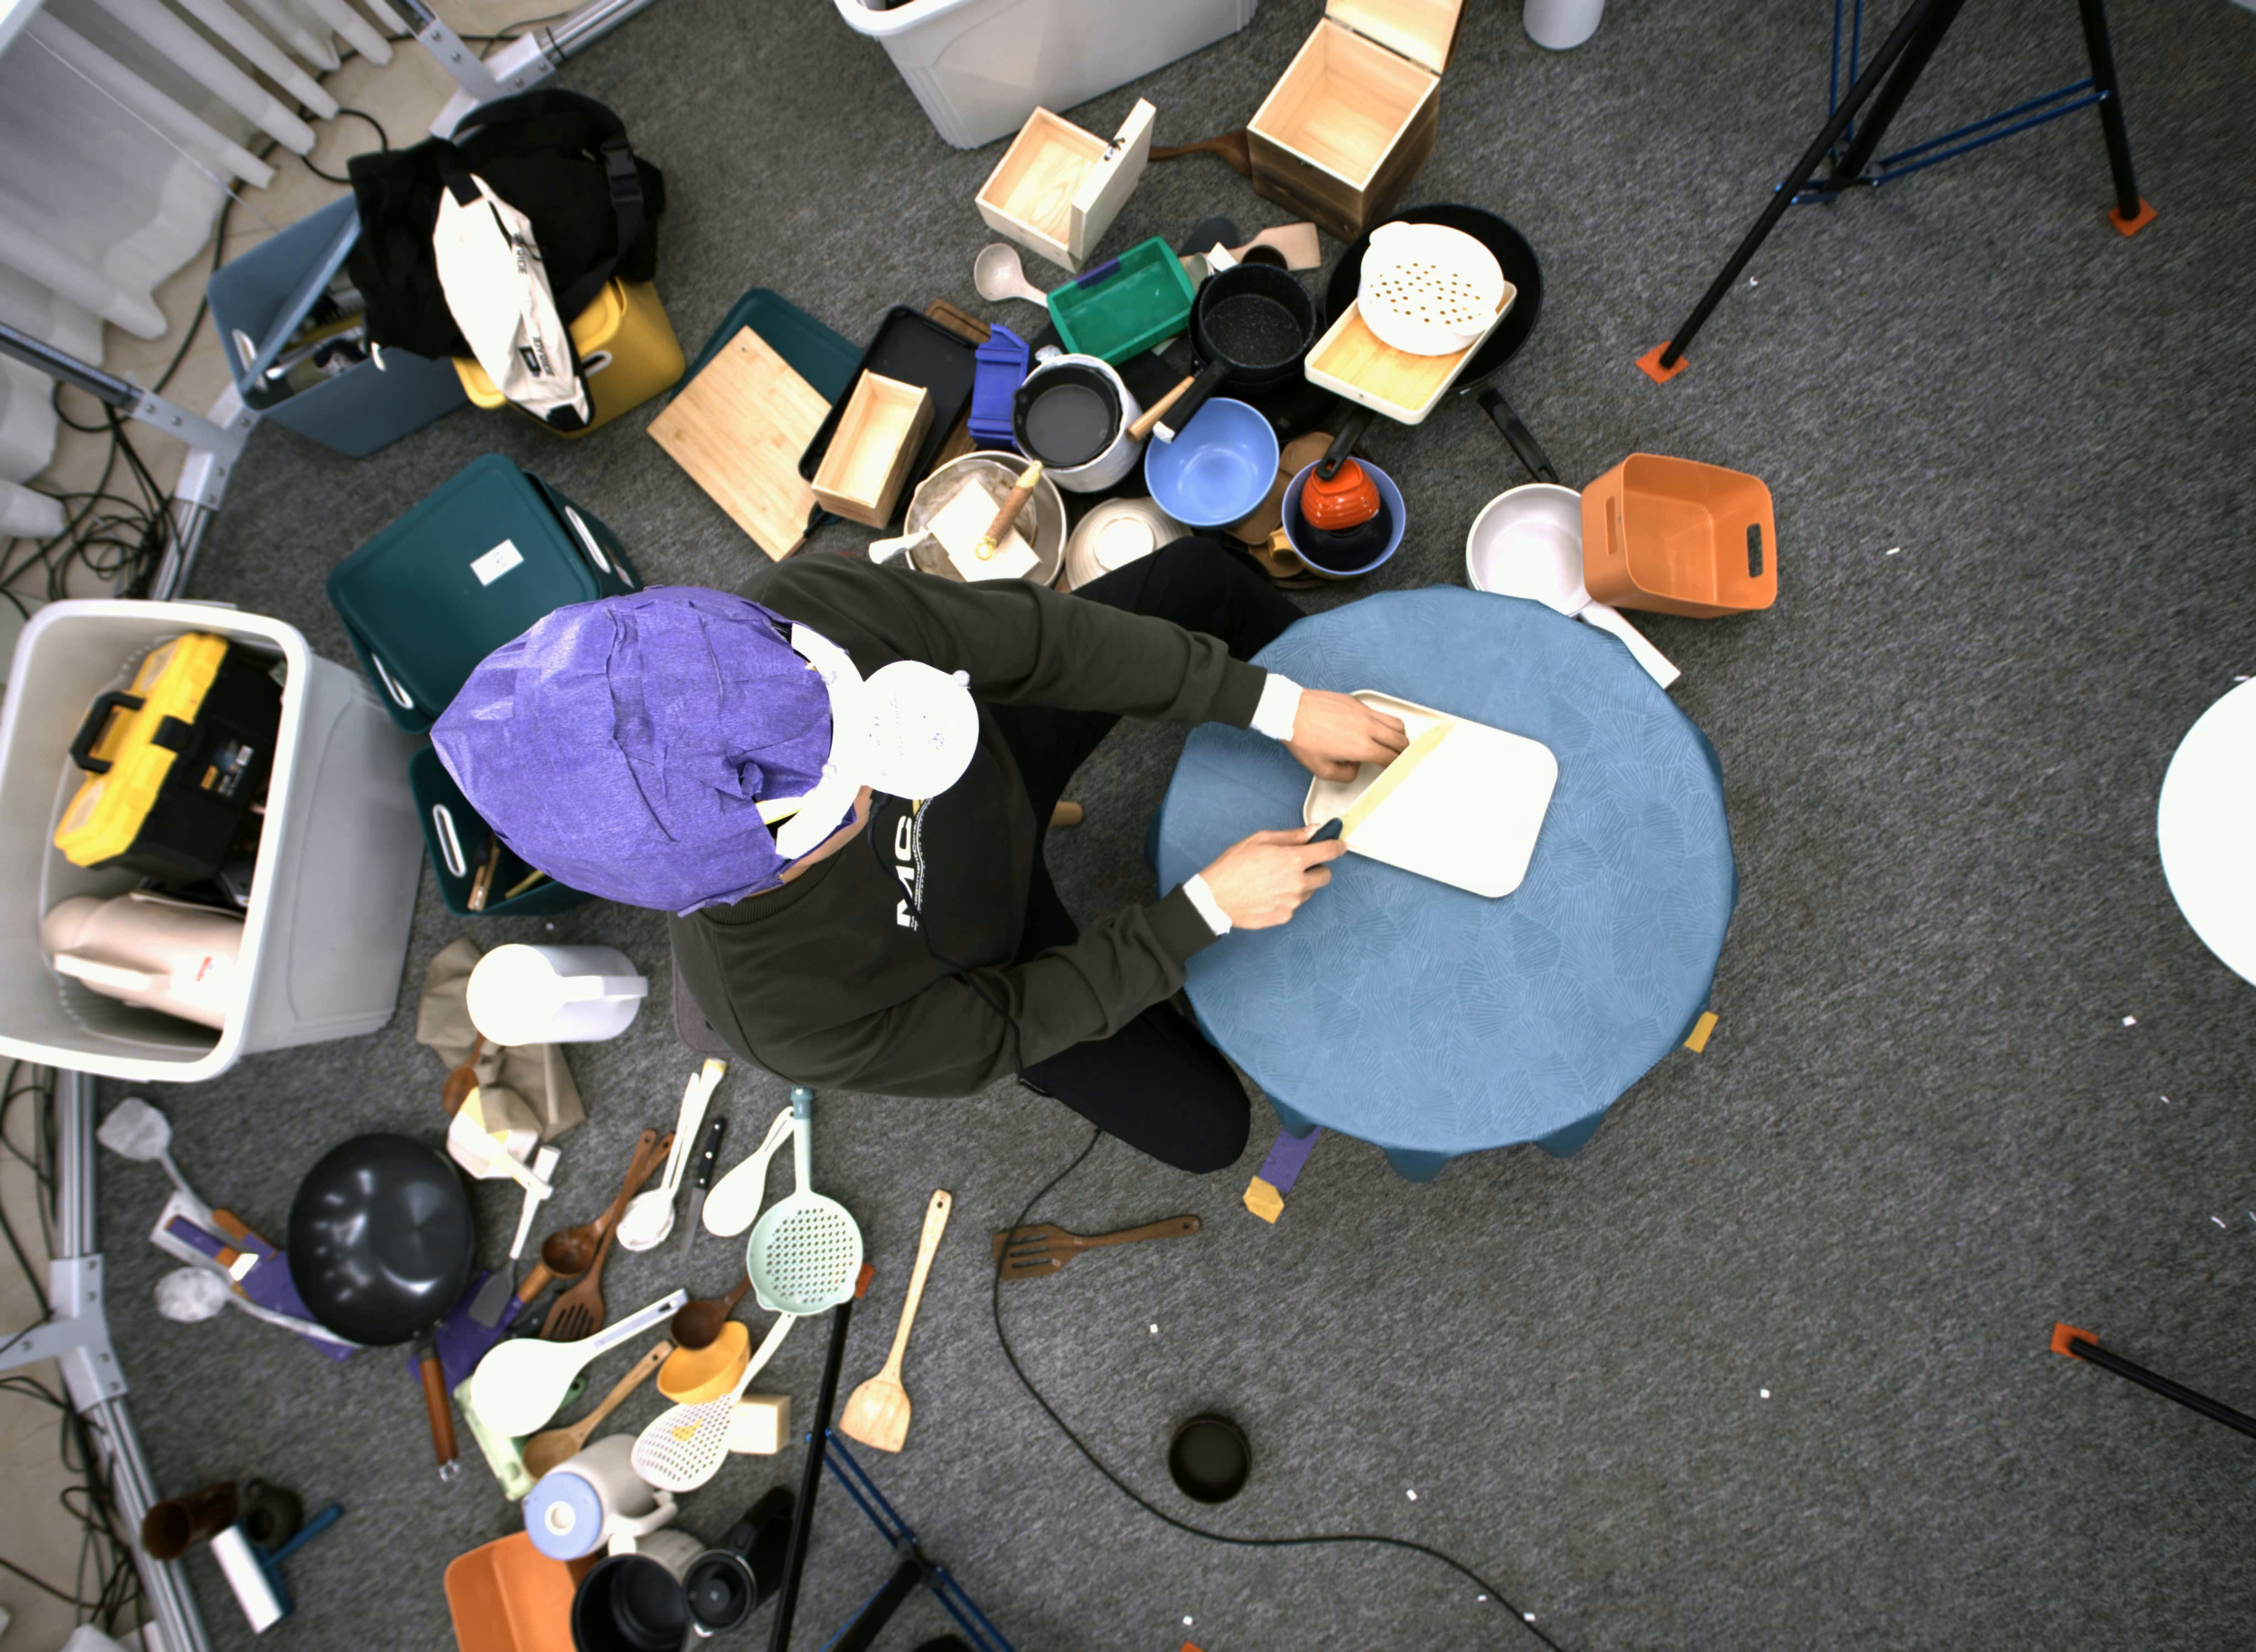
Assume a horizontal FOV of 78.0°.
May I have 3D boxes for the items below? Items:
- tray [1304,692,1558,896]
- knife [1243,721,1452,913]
[{"bbox_3d":[0.317,-0.036,1.448,0.240,0.017,0.171,18,91,11],"label":"tray"},{"bbox_3d":[0.229,-0.011,1.416,0.289,0.082,0.027,-42,66,-1],"label":"knife"}]
